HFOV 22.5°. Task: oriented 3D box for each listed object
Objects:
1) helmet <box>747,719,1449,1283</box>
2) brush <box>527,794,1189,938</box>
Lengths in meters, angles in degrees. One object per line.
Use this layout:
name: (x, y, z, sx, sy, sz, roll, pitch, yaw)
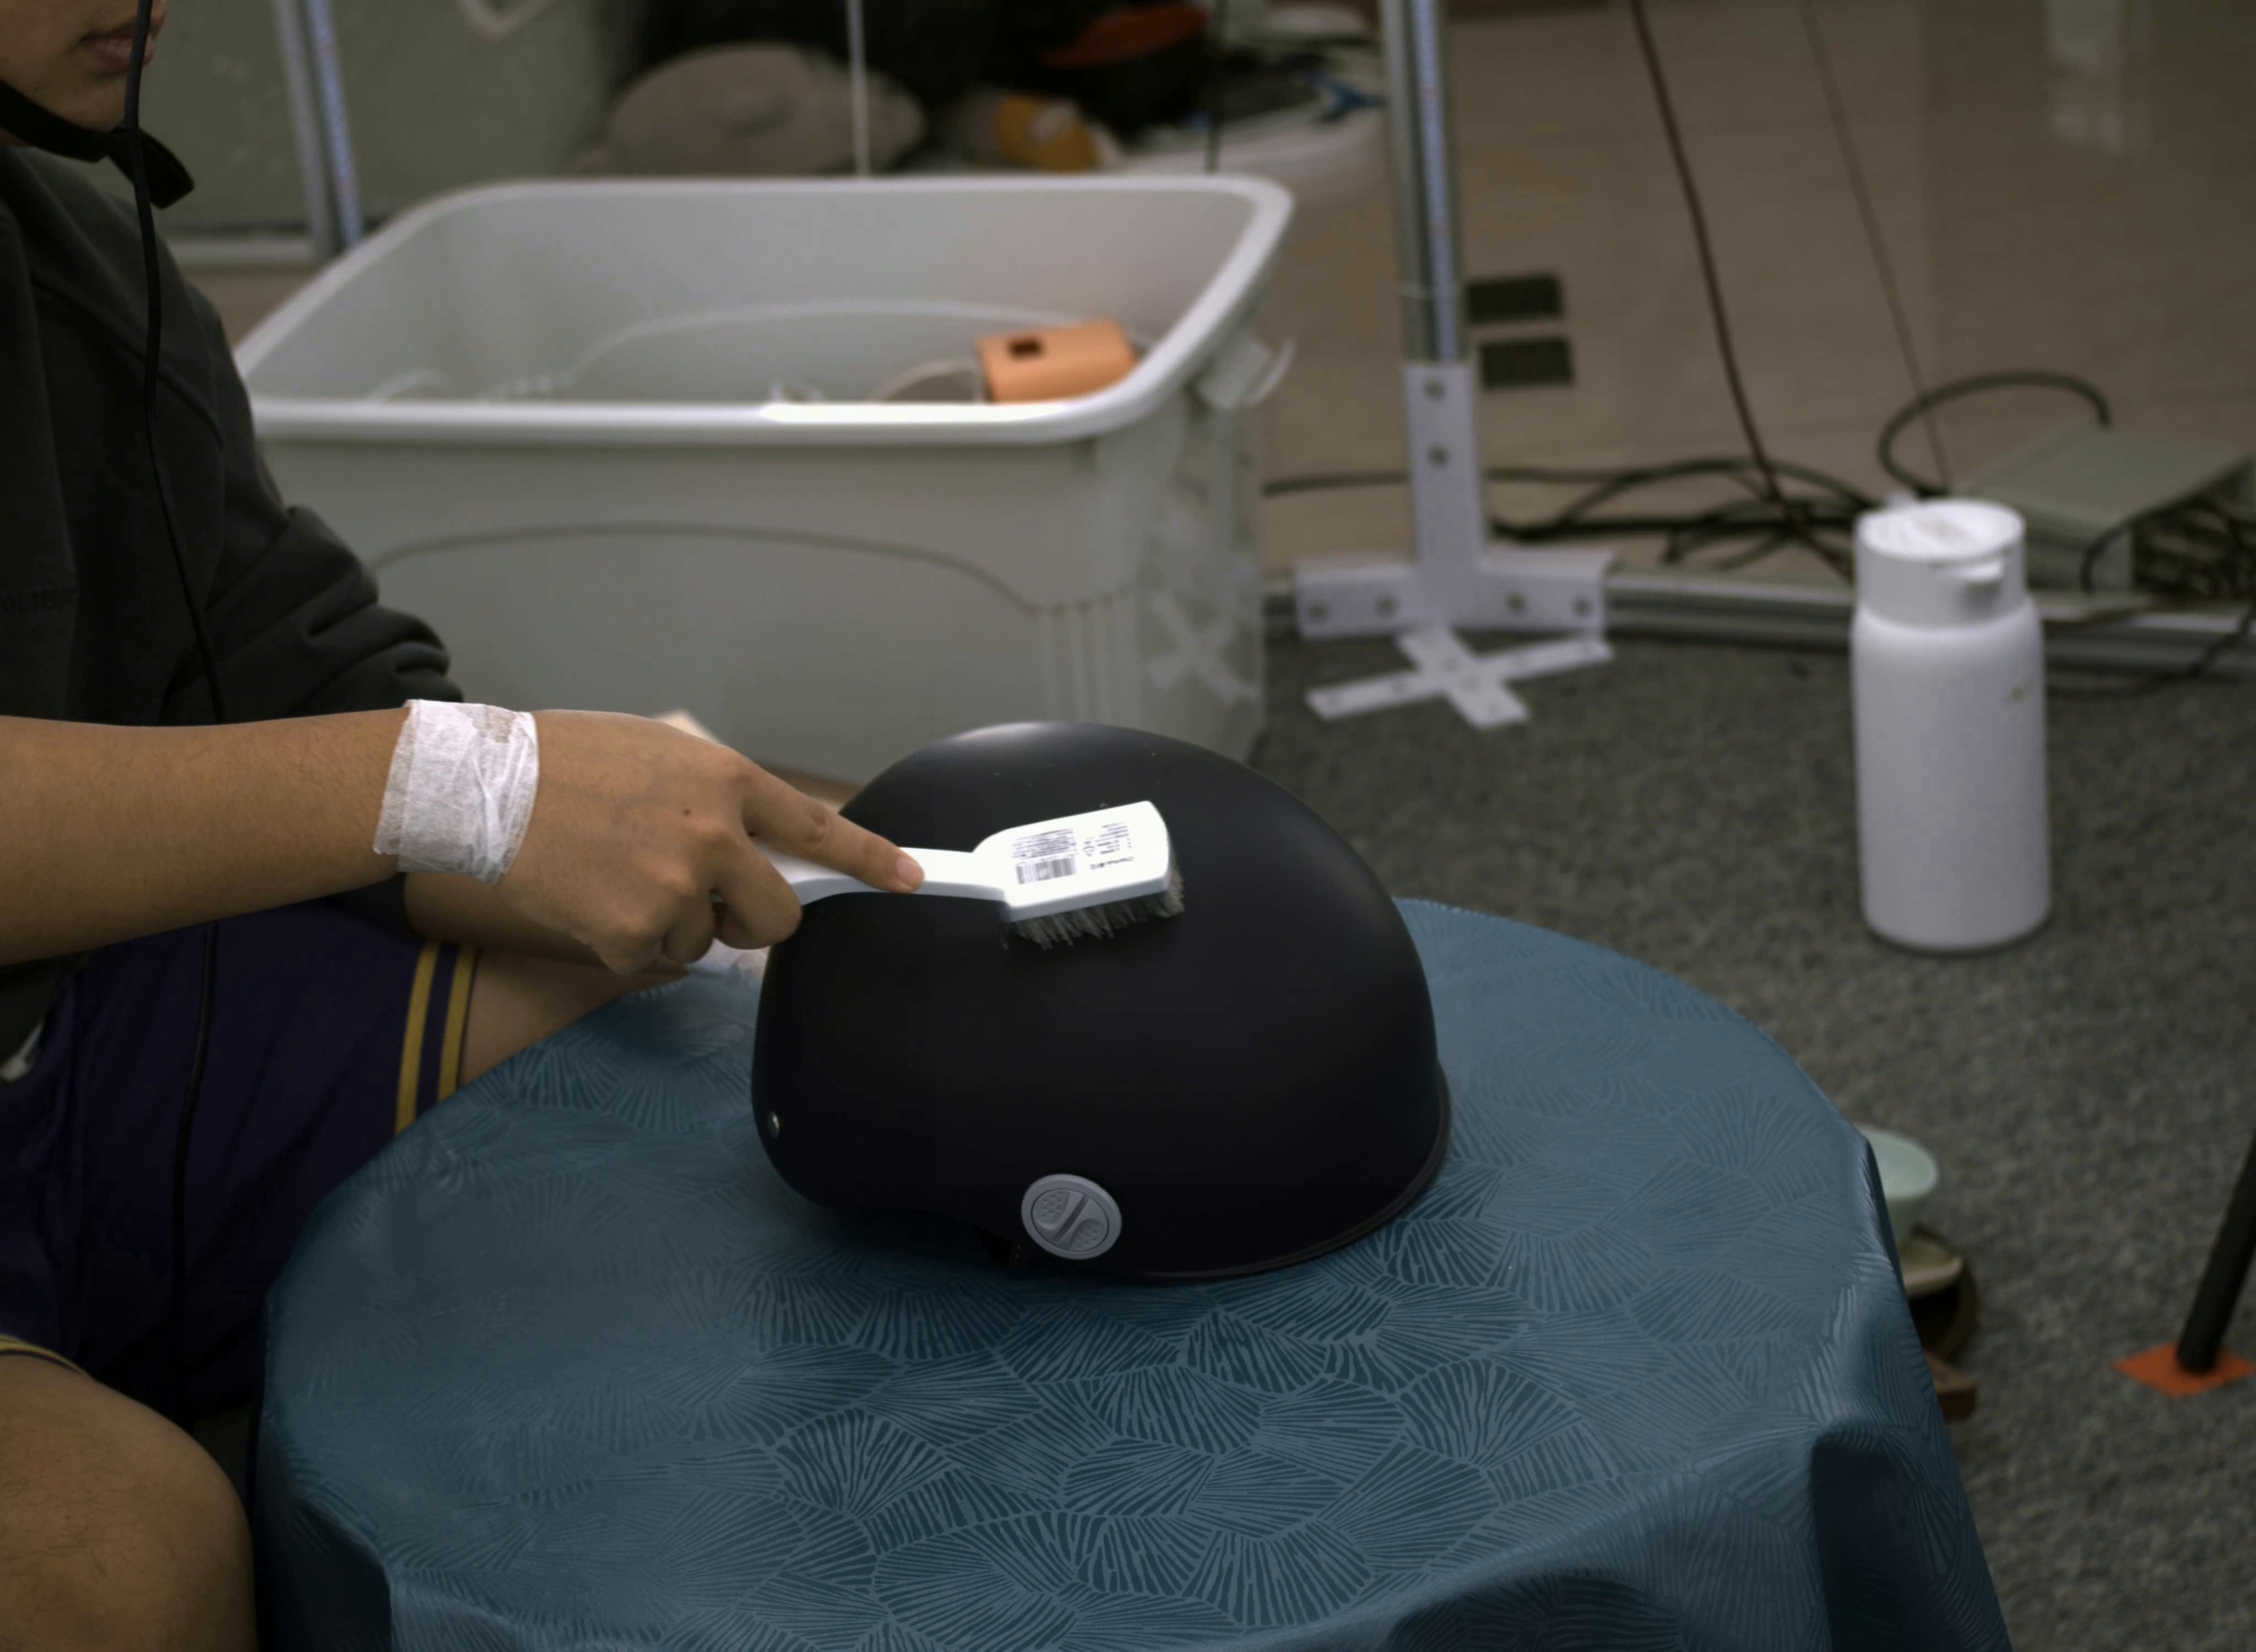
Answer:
helmet: (-0.016, 0.050, 2.133, 0.272, 0.170, 0.227, 11, 38, 25)
brush: (-0.095, 0.022, 2.008, 0.243, 0.051, 0.034, -5, 62, -16)
